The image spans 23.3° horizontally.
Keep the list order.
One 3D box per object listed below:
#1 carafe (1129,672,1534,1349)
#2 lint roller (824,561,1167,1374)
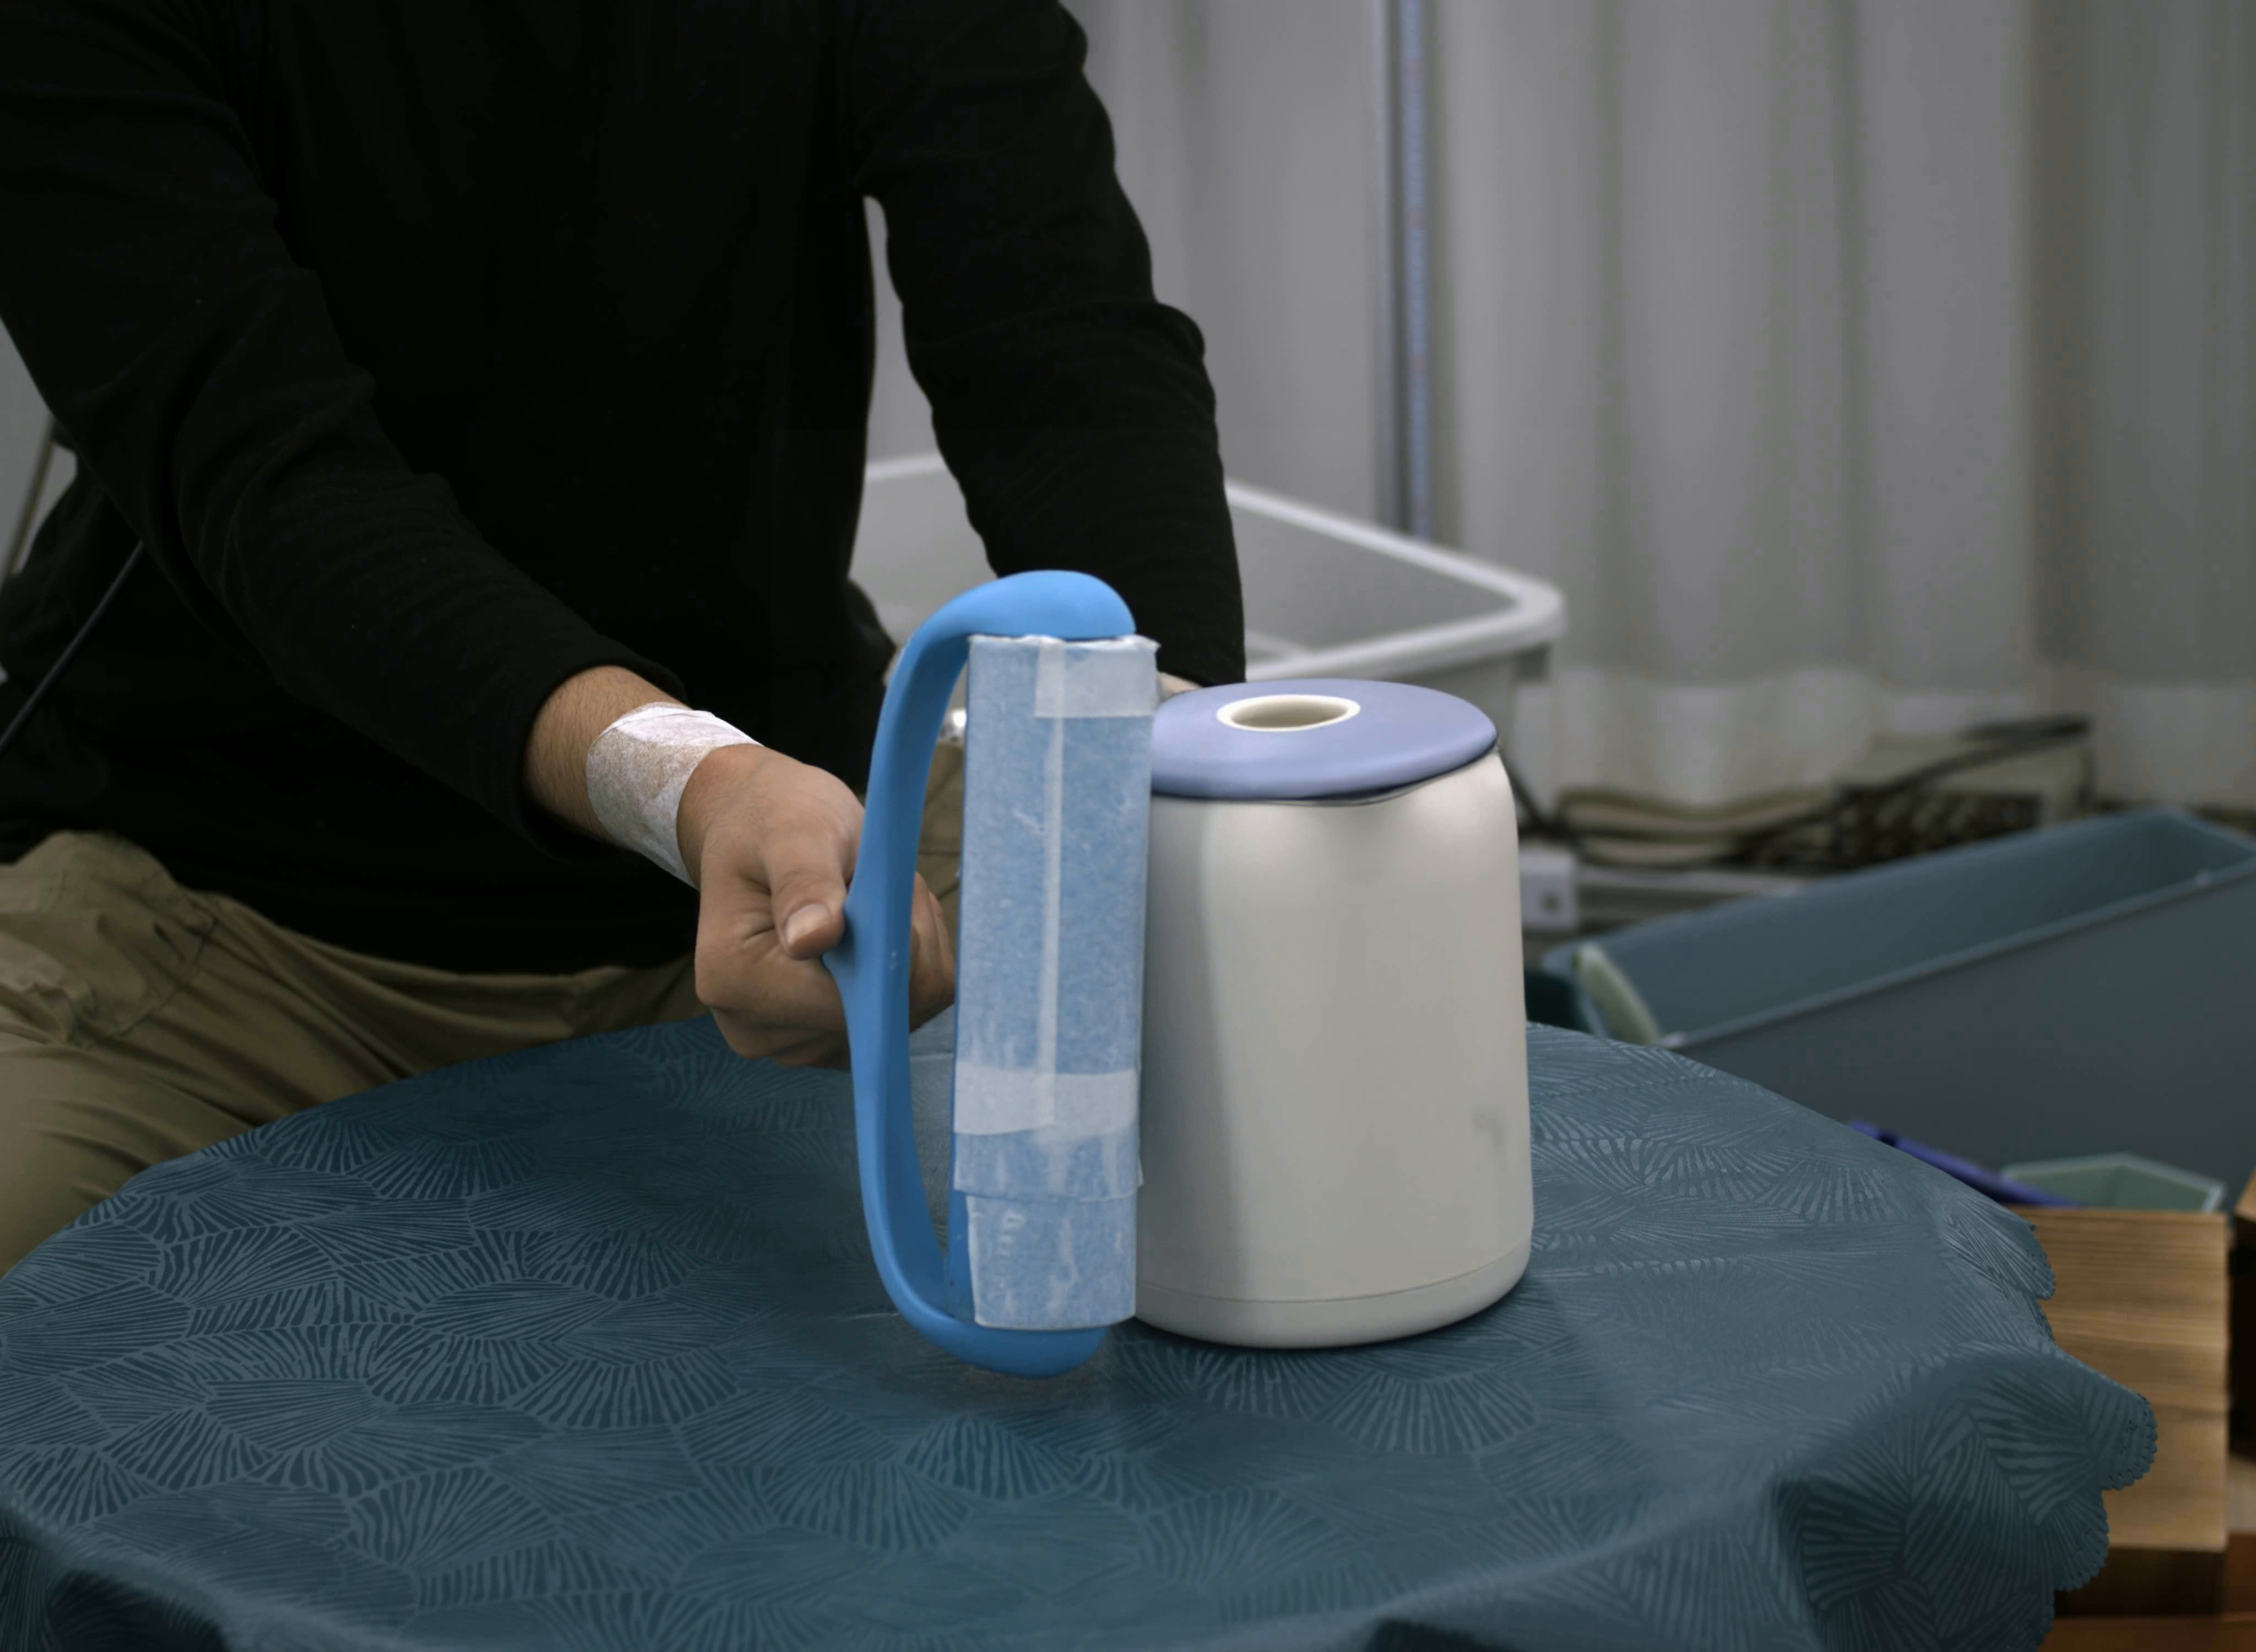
[{"bbox_3d":[0.043,0.048,1.626,0.131,0.182,0.192,-7,12,-17],"label":"carafe"},{"bbox_3d":[-0.053,0.037,1.585,0.067,0.229,0.181,-3,4,-34],"label":"lint roller"}]
